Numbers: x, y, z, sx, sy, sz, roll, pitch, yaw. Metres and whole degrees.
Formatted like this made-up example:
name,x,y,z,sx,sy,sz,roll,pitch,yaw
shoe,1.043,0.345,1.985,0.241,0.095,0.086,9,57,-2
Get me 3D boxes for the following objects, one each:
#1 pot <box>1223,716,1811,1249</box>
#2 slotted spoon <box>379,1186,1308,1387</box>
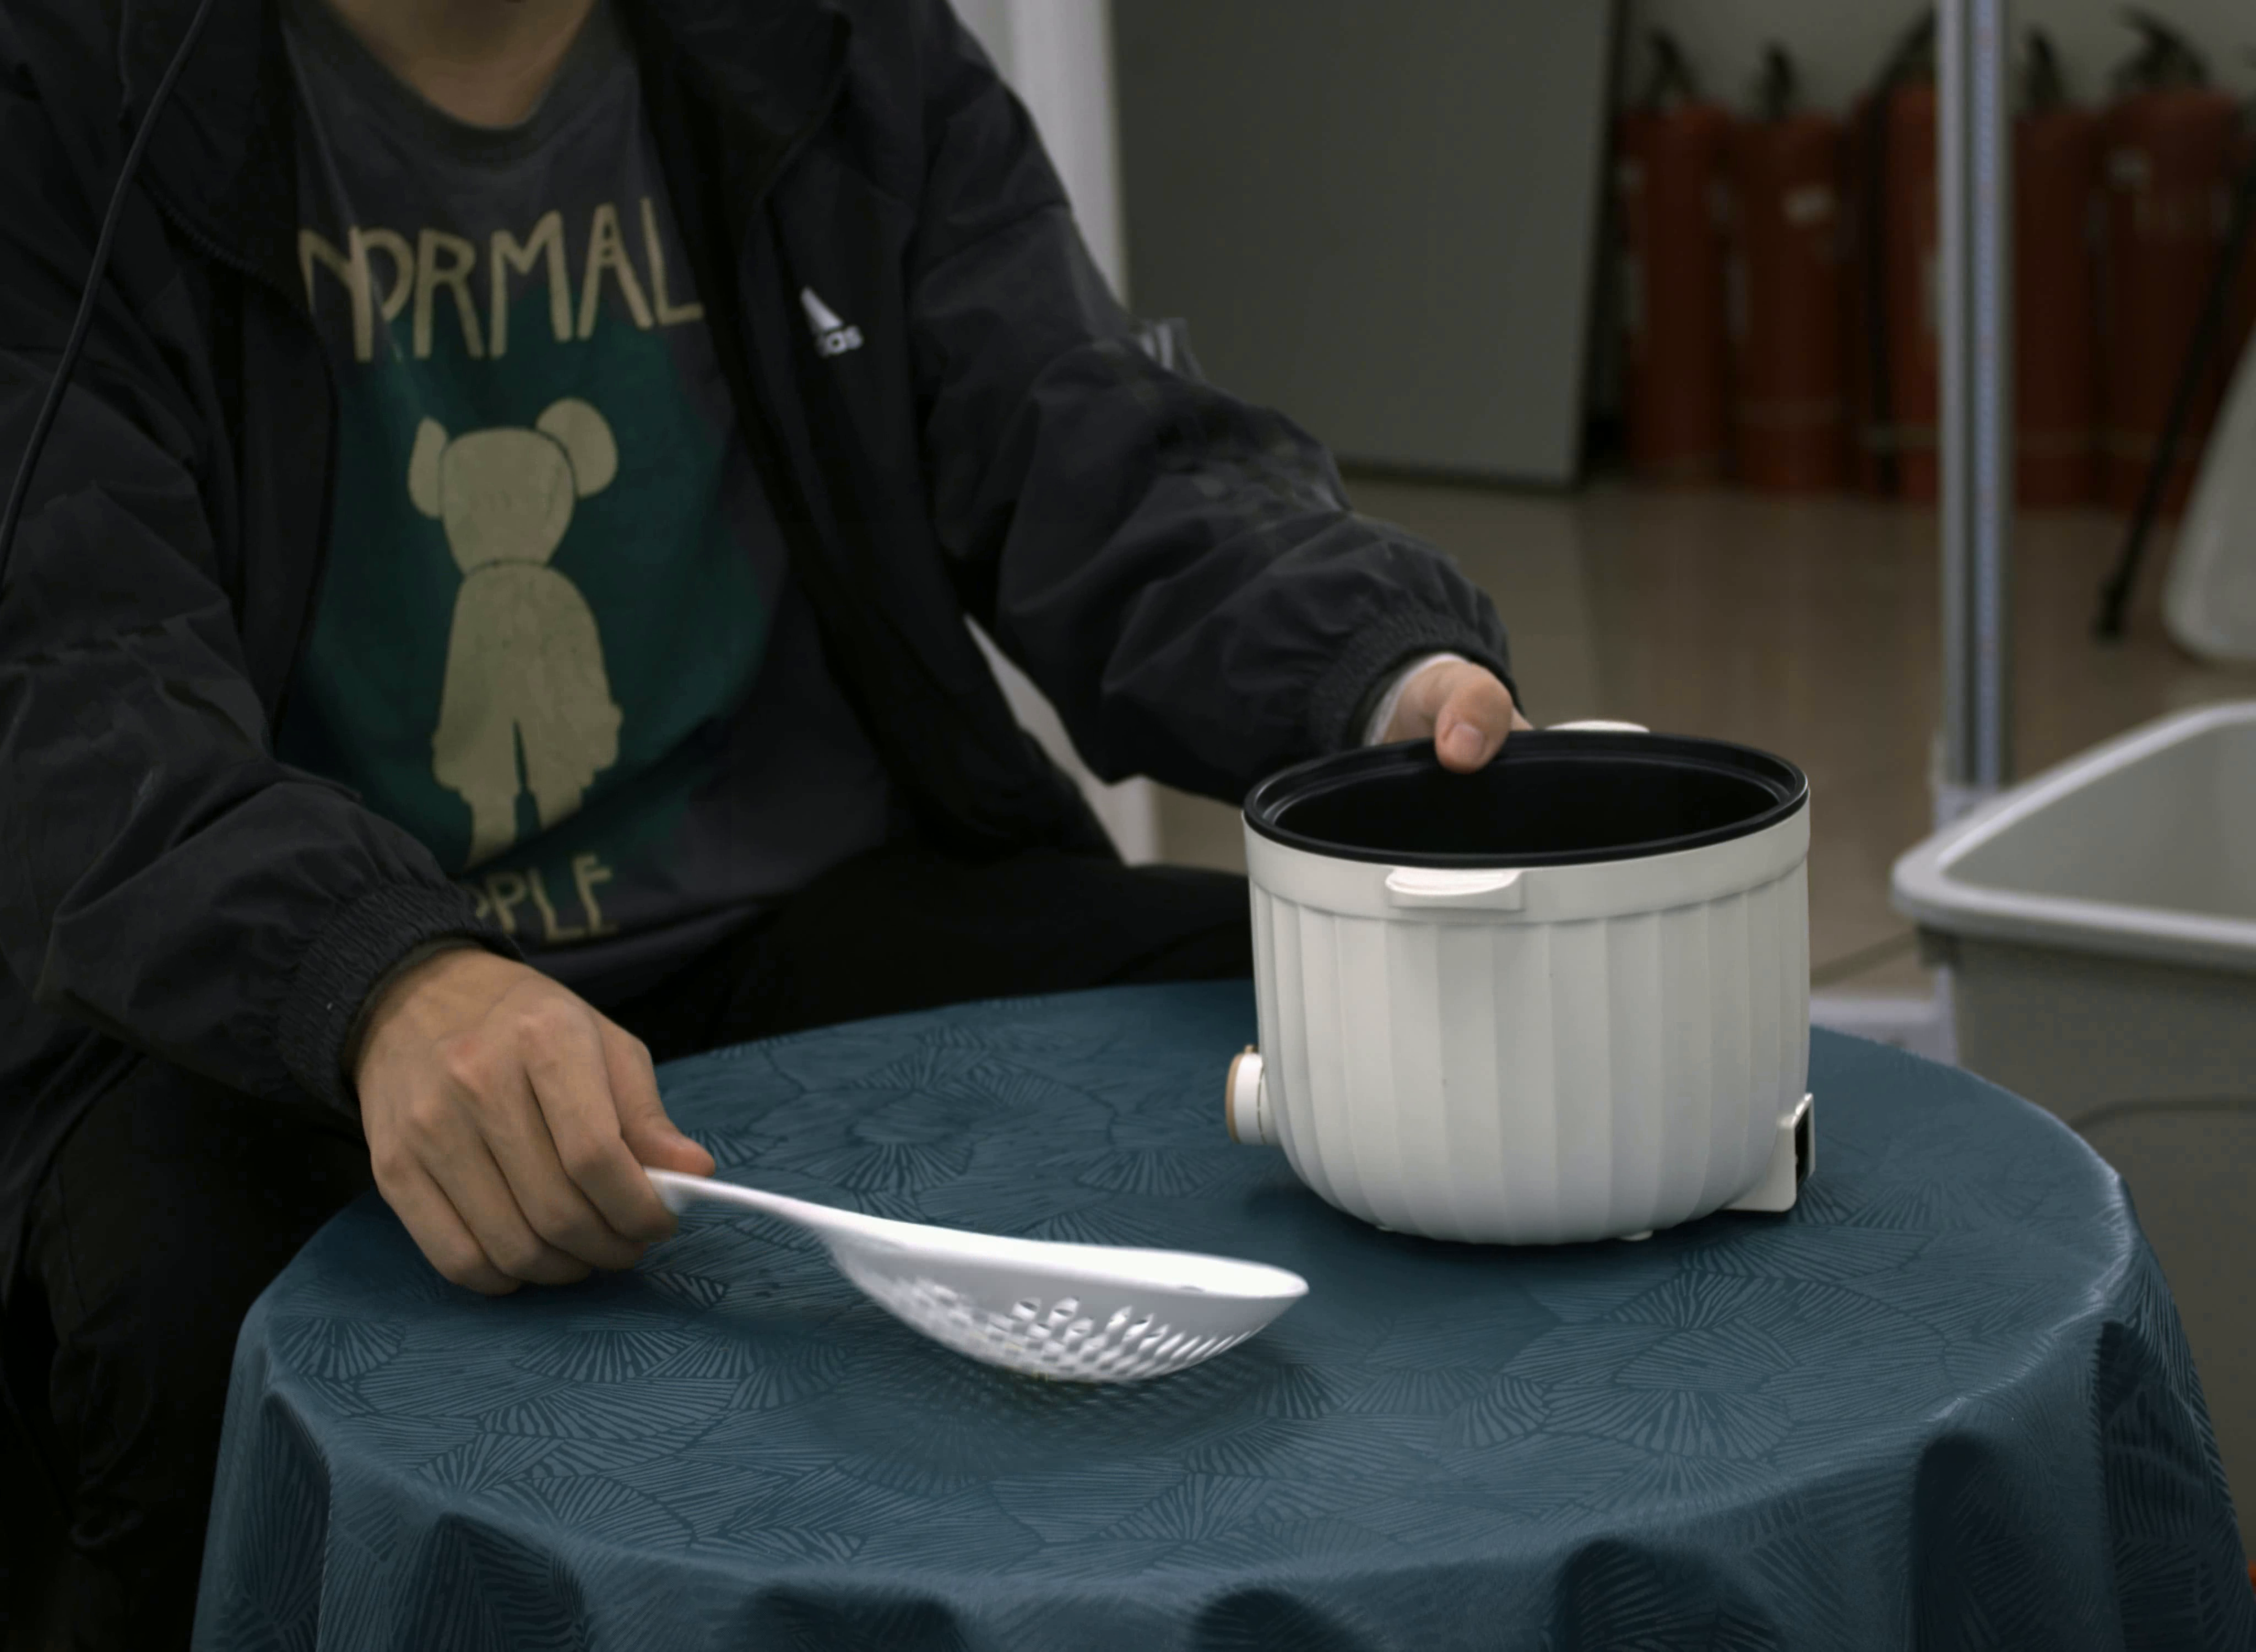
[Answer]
name,x,y,z,sx,sy,sz,roll,pitch,yaw
pot,0.124,0.052,1.722,0.190,0.144,0.238,3,13,17
slotted spoon,-0.100,0.130,1.659,0.351,0.051,0.134,10,6,40
